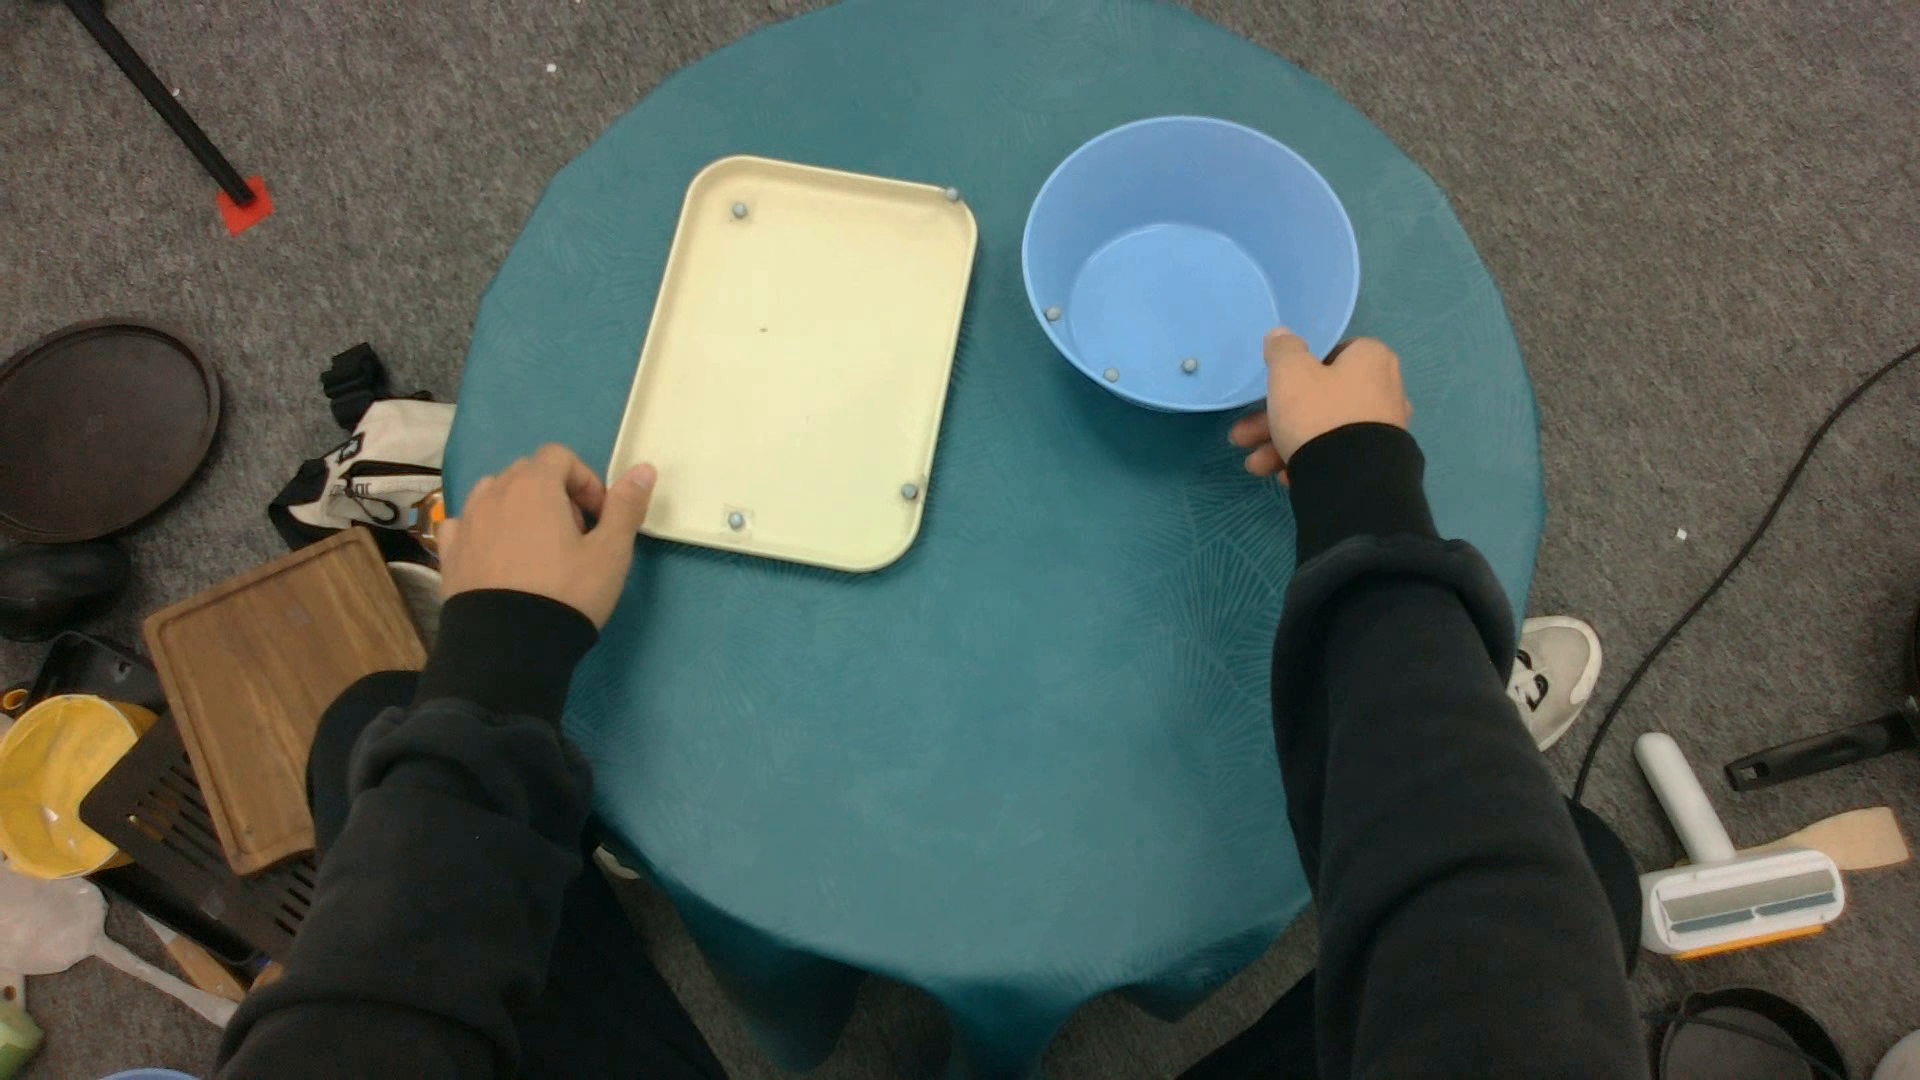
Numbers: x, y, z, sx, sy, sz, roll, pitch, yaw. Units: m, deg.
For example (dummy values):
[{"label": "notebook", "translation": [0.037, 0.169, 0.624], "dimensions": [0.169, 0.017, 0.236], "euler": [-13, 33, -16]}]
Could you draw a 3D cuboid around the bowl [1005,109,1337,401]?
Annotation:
[{"label": "bowl", "translation": [0.111, -0.143, 0.754], "dimensions": [0.176, 0.070, 0.176], "euler": [0, 70, 0]}]

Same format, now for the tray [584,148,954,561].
[{"label": "tray", "translation": [-0.101, -0.107, 0.764], "dimensions": [0.171, 0.017, 0.240], "euler": [9, 70, 3]}]
